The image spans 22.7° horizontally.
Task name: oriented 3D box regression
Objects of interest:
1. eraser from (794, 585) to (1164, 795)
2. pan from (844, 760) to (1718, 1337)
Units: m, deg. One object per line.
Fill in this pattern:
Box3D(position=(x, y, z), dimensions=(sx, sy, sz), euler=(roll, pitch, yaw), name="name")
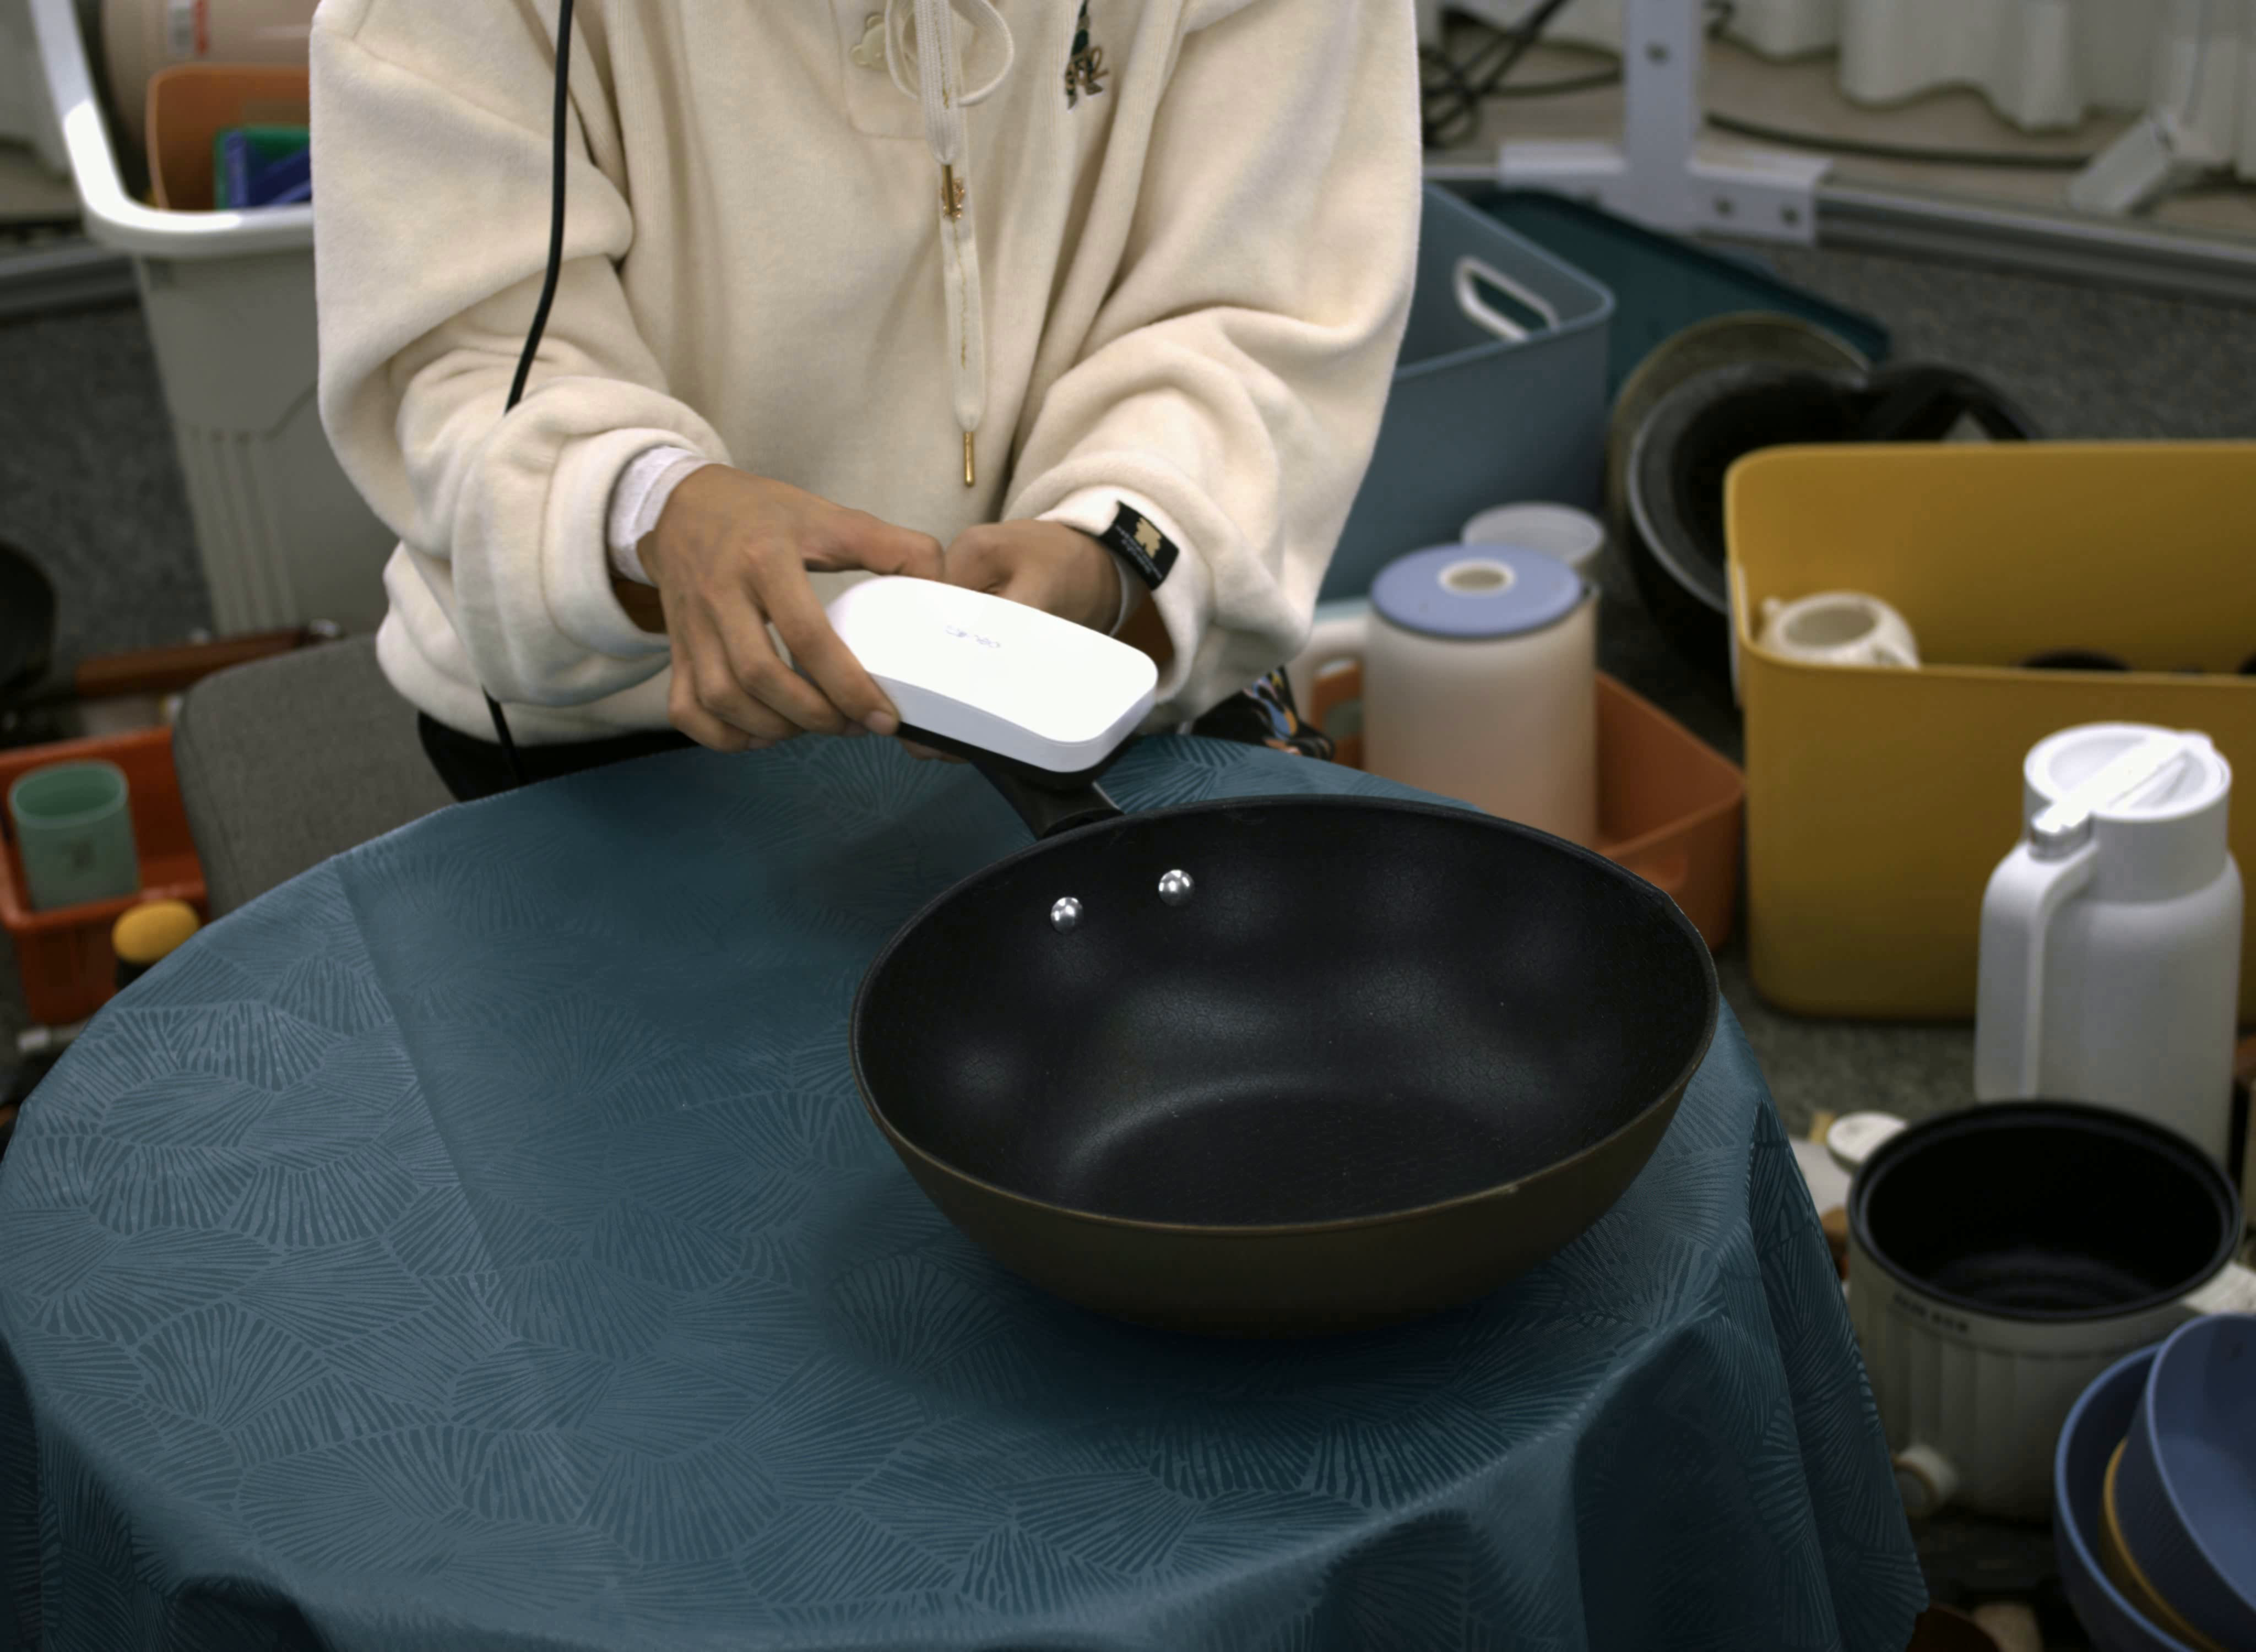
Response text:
Box3D(position=(-0.052, -0.051, 1.977), dimensions=(0.131, 0.034, 0.064), euler=(18, 37, 29), name="eraser")
Box3D(position=(0.012, 0.053, 1.903), dimensions=(0.289, 0.086, 0.466), euler=(-14, 28, -21), name="pan")
